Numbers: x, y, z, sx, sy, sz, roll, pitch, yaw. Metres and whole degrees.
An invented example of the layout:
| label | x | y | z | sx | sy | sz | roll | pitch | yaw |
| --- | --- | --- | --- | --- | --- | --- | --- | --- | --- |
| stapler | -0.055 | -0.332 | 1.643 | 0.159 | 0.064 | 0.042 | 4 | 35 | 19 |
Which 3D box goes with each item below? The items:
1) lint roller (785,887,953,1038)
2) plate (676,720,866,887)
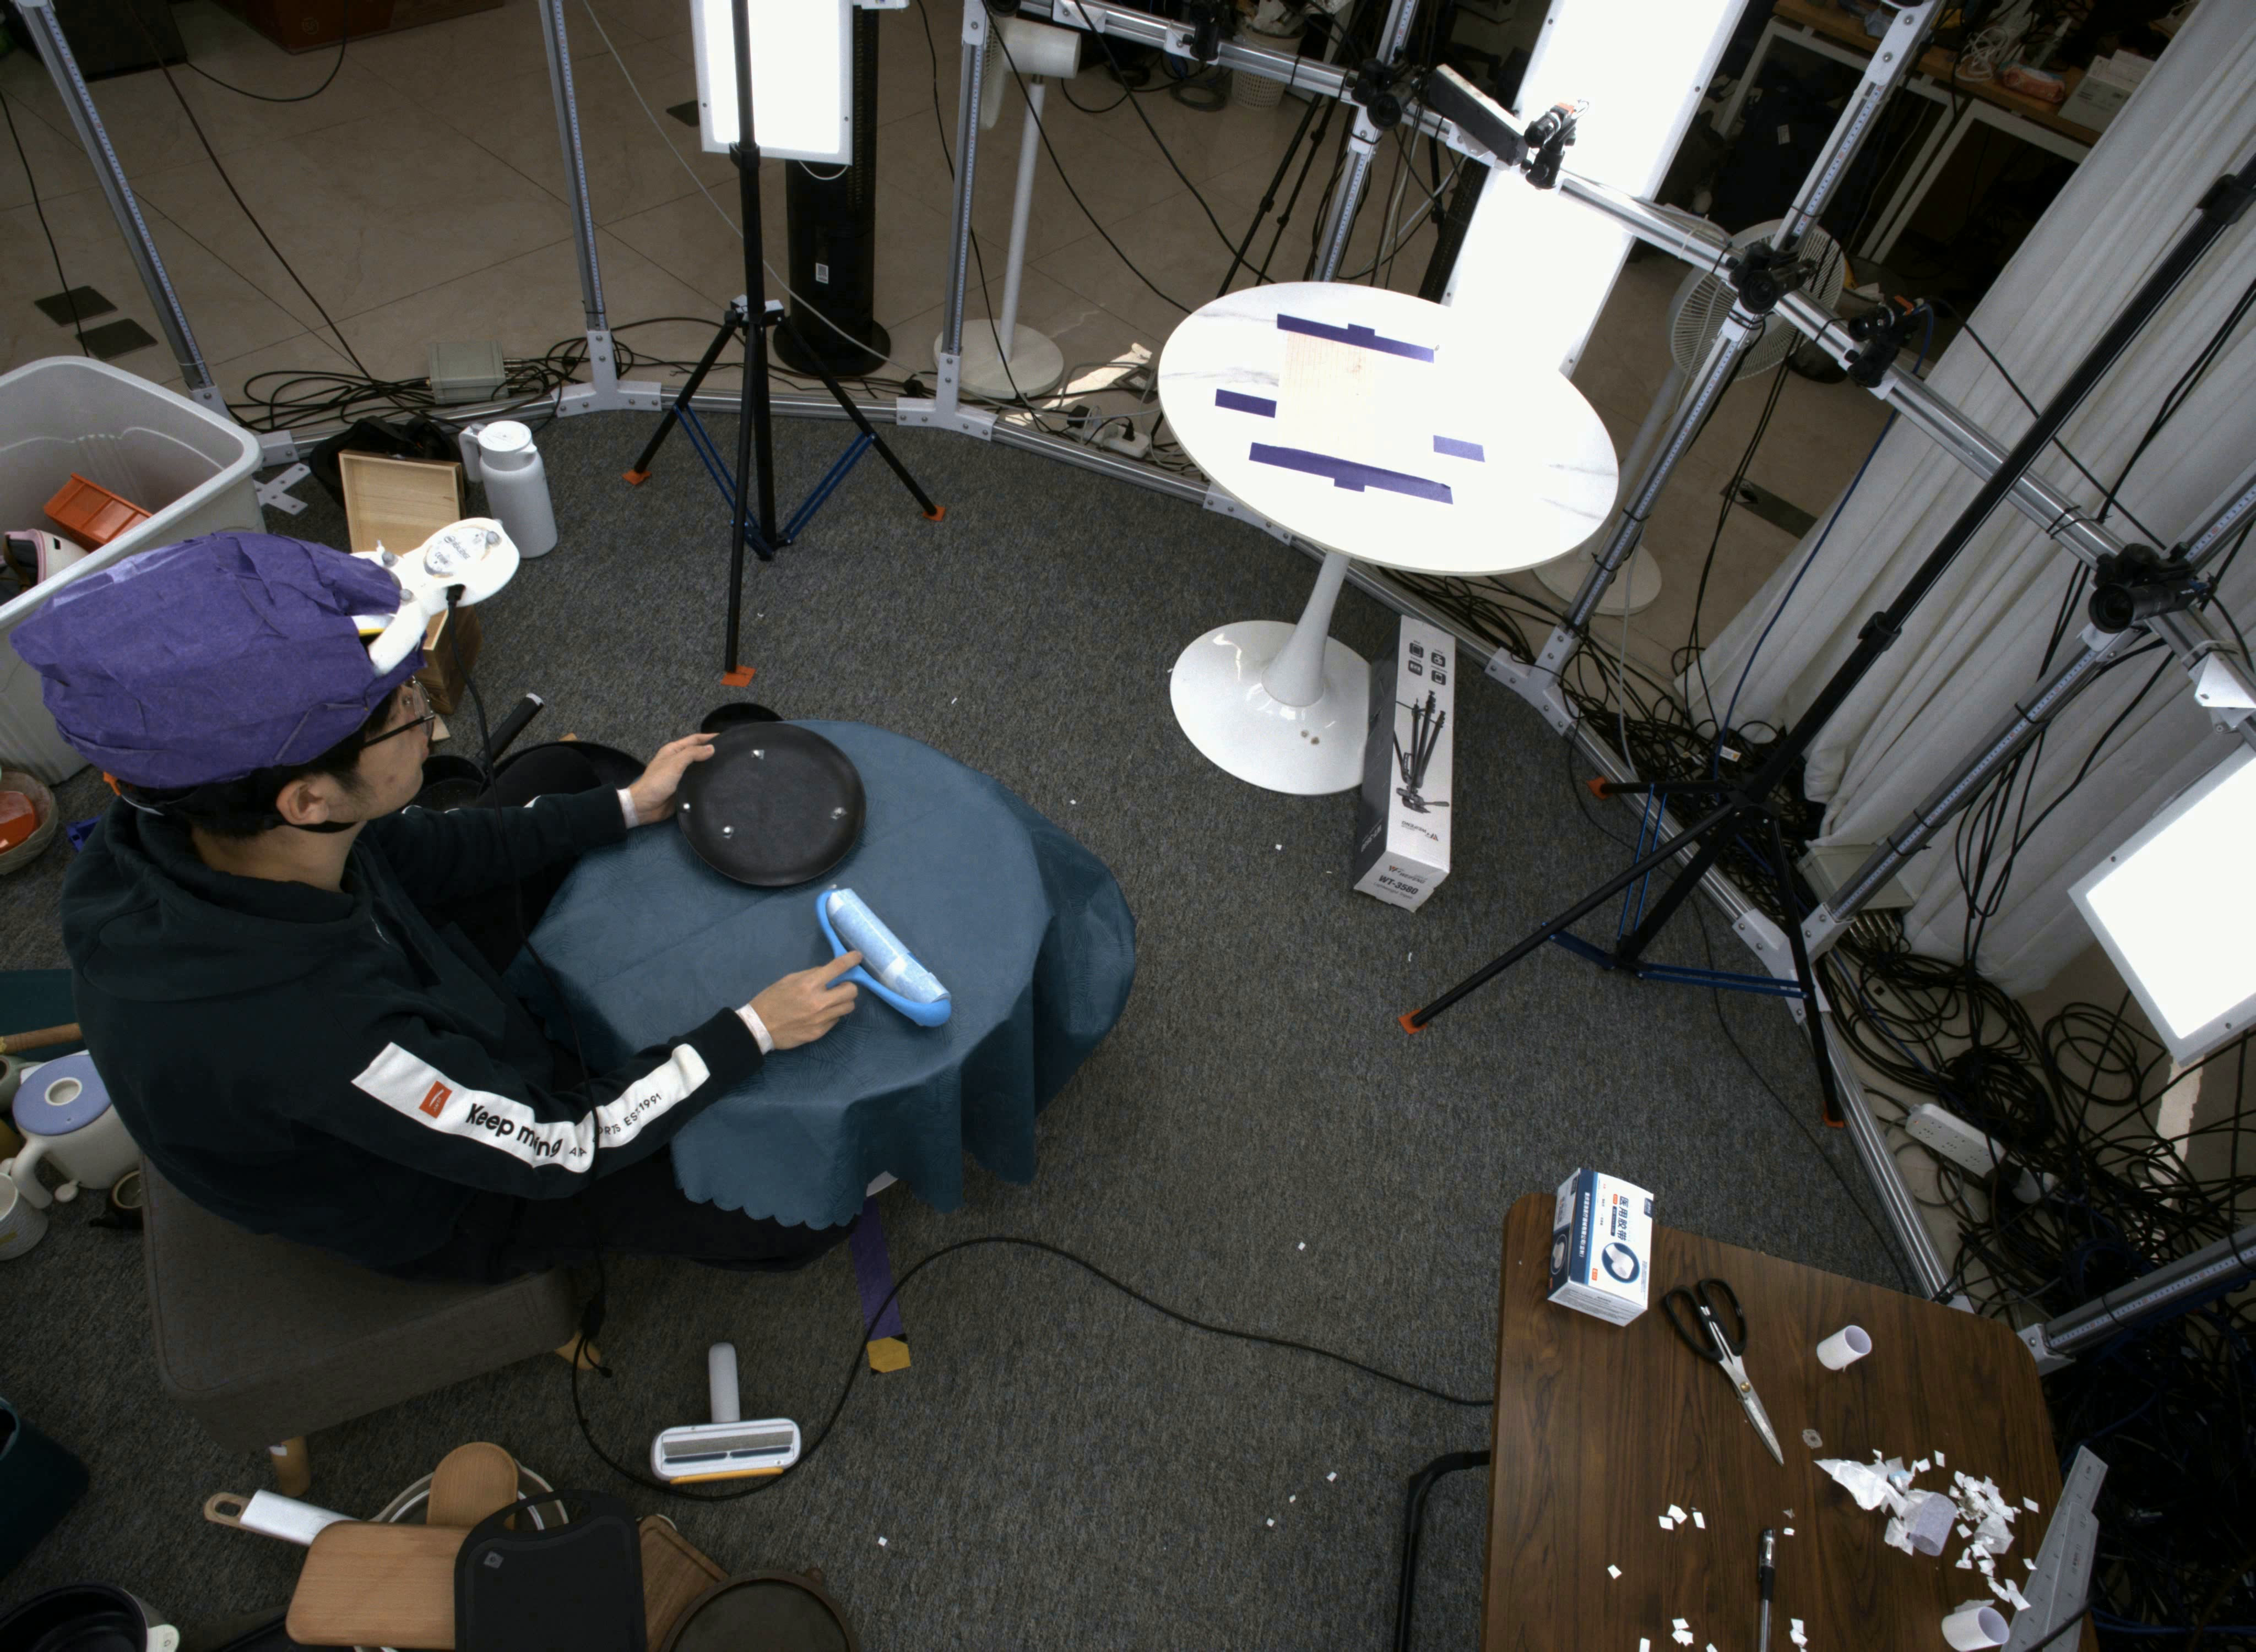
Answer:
| label | x | y | z | sx | sy | sz | roll | pitch | yaw |
| --- | --- | --- | --- | --- | --- | --- | --- | --- | --- |
| lint roller | -0.337 | 0.184 | 1.567 | 0.225 | 0.069 | 0.180 | 41 | 54 | 13 |
| plate | -0.469 | -0.030 | 1.703 | 0.245 | 0.023 | 0.241 | 9 | 63 | -15 |
